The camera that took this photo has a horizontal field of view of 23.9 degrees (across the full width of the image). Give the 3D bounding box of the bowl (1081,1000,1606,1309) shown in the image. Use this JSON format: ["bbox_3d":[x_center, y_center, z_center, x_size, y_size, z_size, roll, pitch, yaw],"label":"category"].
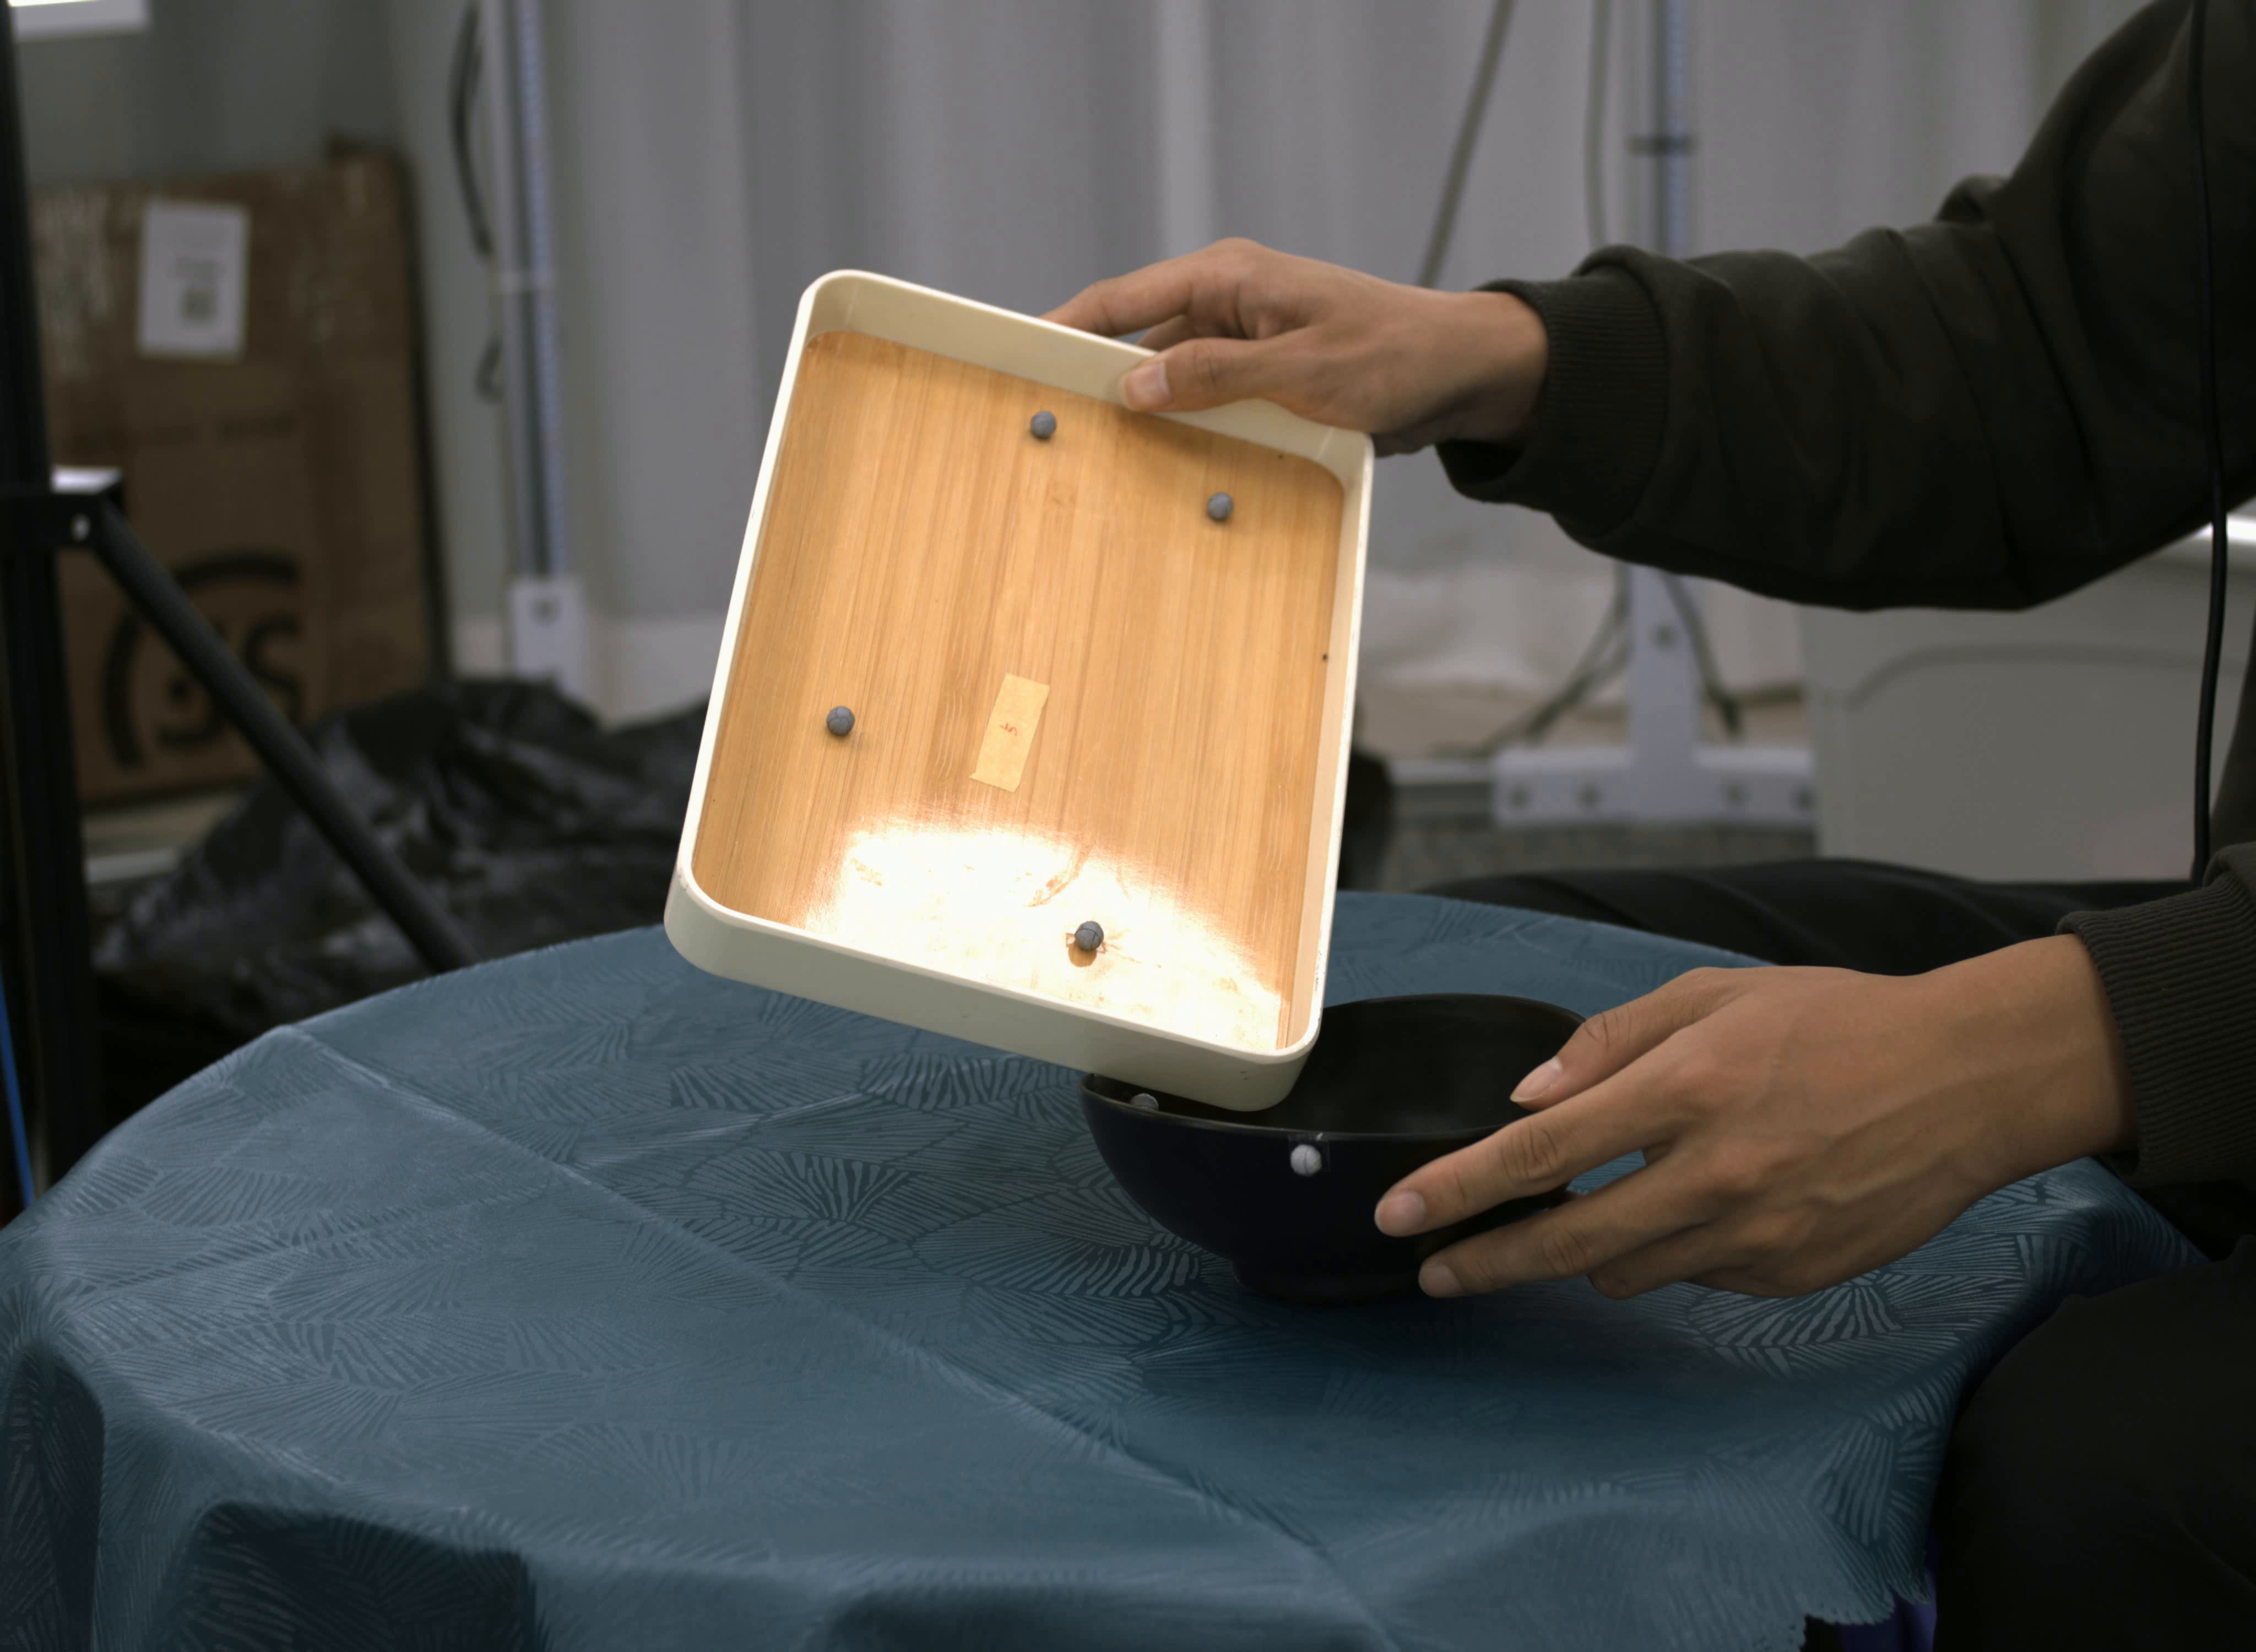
[{"bbox_3d":[0.061,0.095,1.476,0.134,0.067,0.174,-14,12,-33],"label":"bowl"}]

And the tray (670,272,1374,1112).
[{"bbox_3d":[-0.026,-0.047,1.610,0.190,0.027,0.302,14,43,-5],"label":"tray"}]
